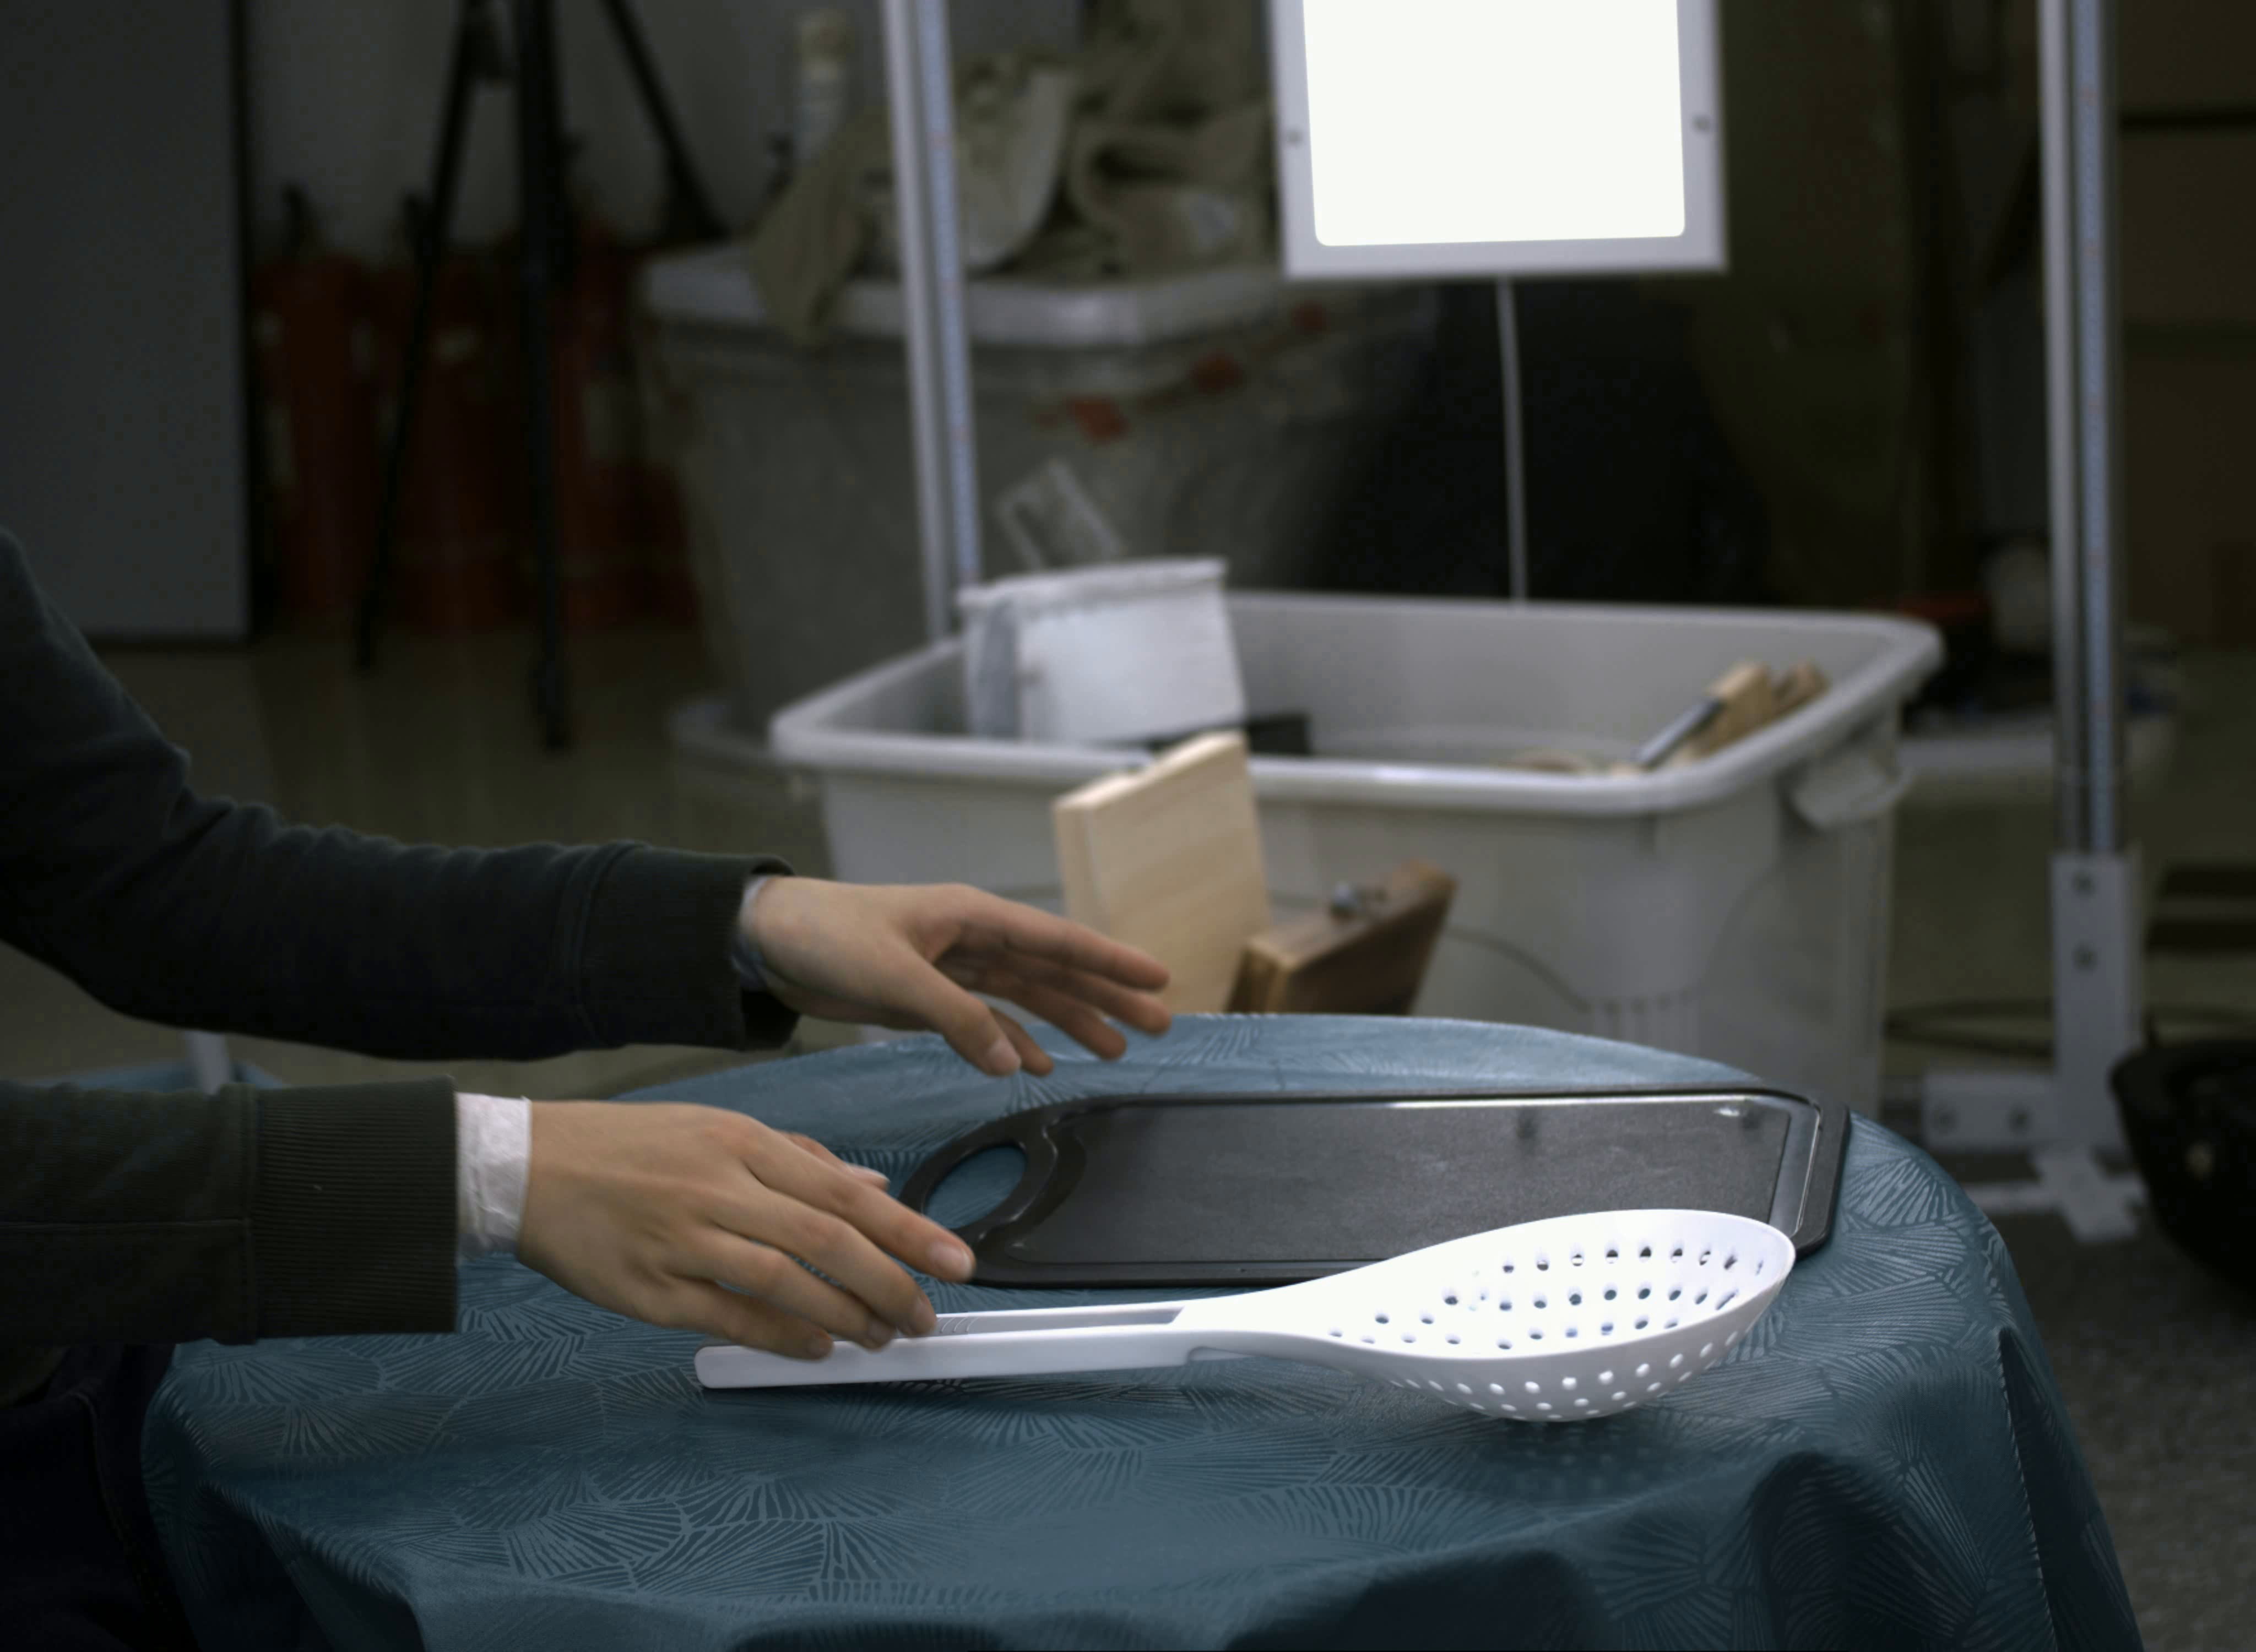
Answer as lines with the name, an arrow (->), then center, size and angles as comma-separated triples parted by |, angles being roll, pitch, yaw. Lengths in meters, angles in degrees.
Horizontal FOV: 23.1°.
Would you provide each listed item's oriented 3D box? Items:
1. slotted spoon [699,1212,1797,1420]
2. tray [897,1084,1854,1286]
slotted spoon -> 0.032, 0.153, 1.683 | 0.354, 0.046, 0.134 | -1, 13, 20
tray -> 0.083, 0.120, 1.880 | 0.328, 0.010, 0.208 | -2, 14, 13
